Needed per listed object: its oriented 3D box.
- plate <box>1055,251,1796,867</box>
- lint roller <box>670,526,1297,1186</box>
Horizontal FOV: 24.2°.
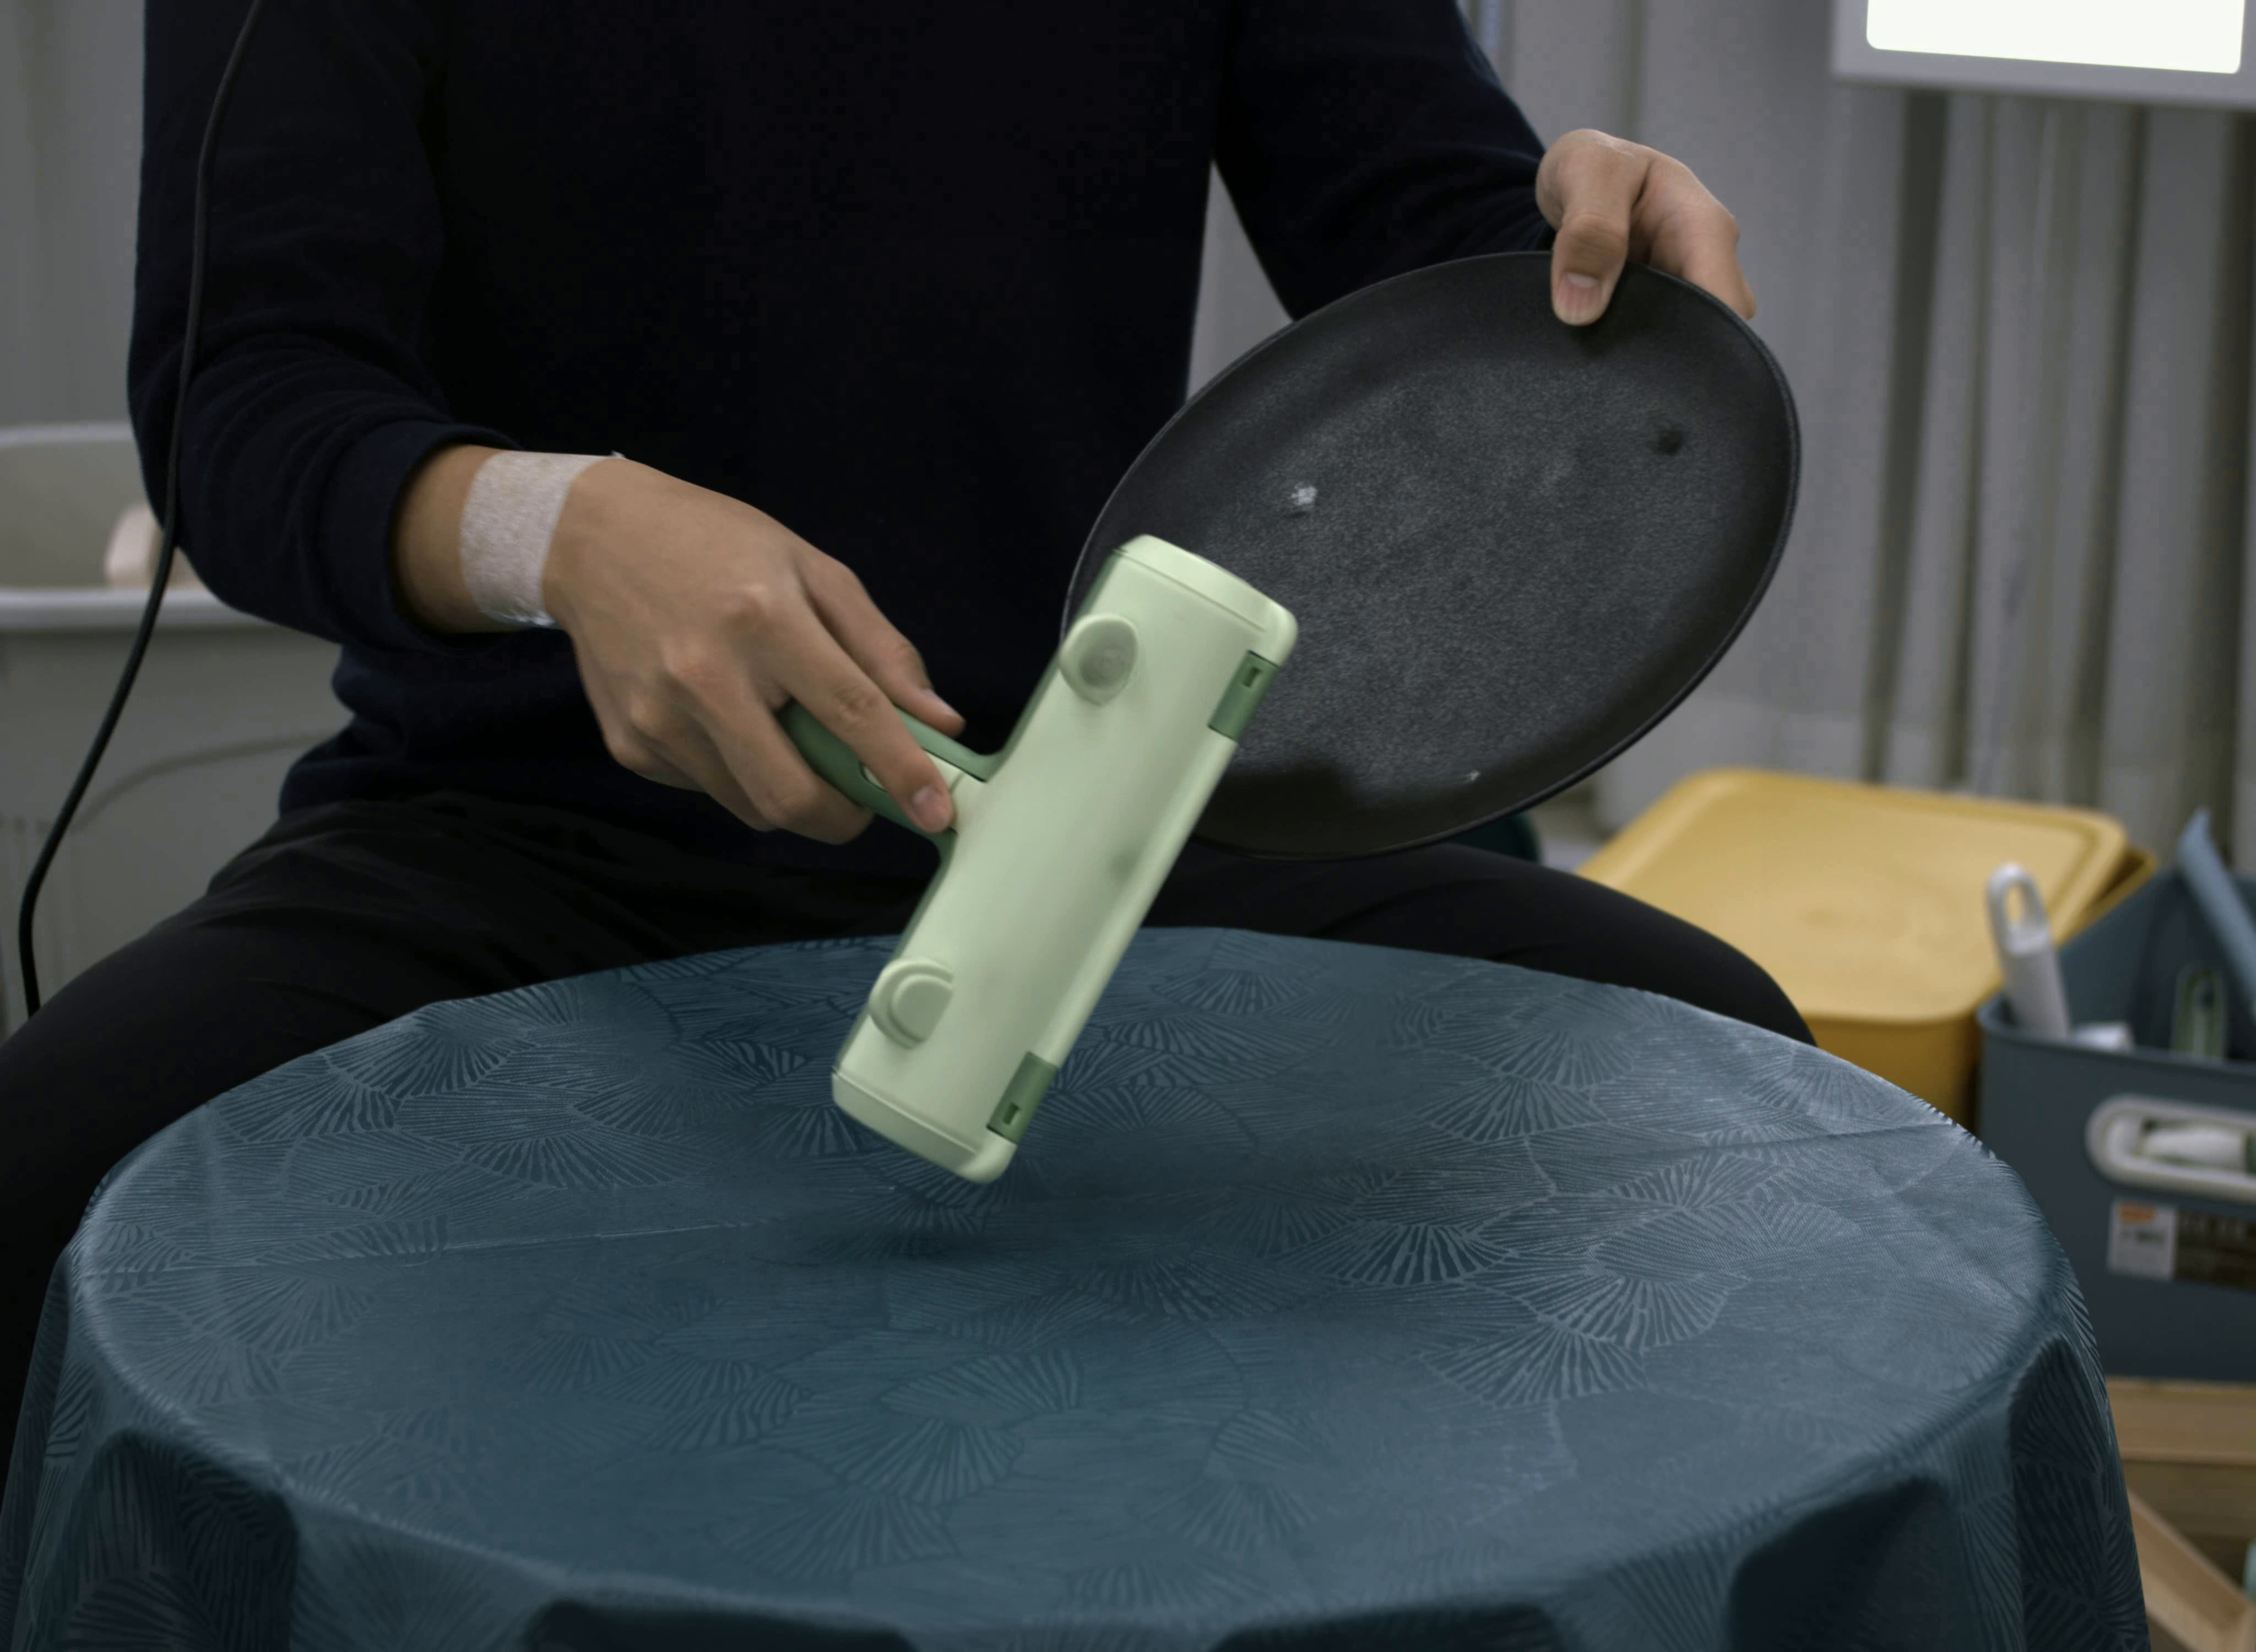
[{"bbox_3d":[0.092,-0.080,1.612,0.243,0.024,0.242,-16,46,18],"label":"plate"},{"bbox_3d":[-0.070,-0.018,1.567,0.182,0.199,0.083,28,-1,15],"label":"lint roller"}]
